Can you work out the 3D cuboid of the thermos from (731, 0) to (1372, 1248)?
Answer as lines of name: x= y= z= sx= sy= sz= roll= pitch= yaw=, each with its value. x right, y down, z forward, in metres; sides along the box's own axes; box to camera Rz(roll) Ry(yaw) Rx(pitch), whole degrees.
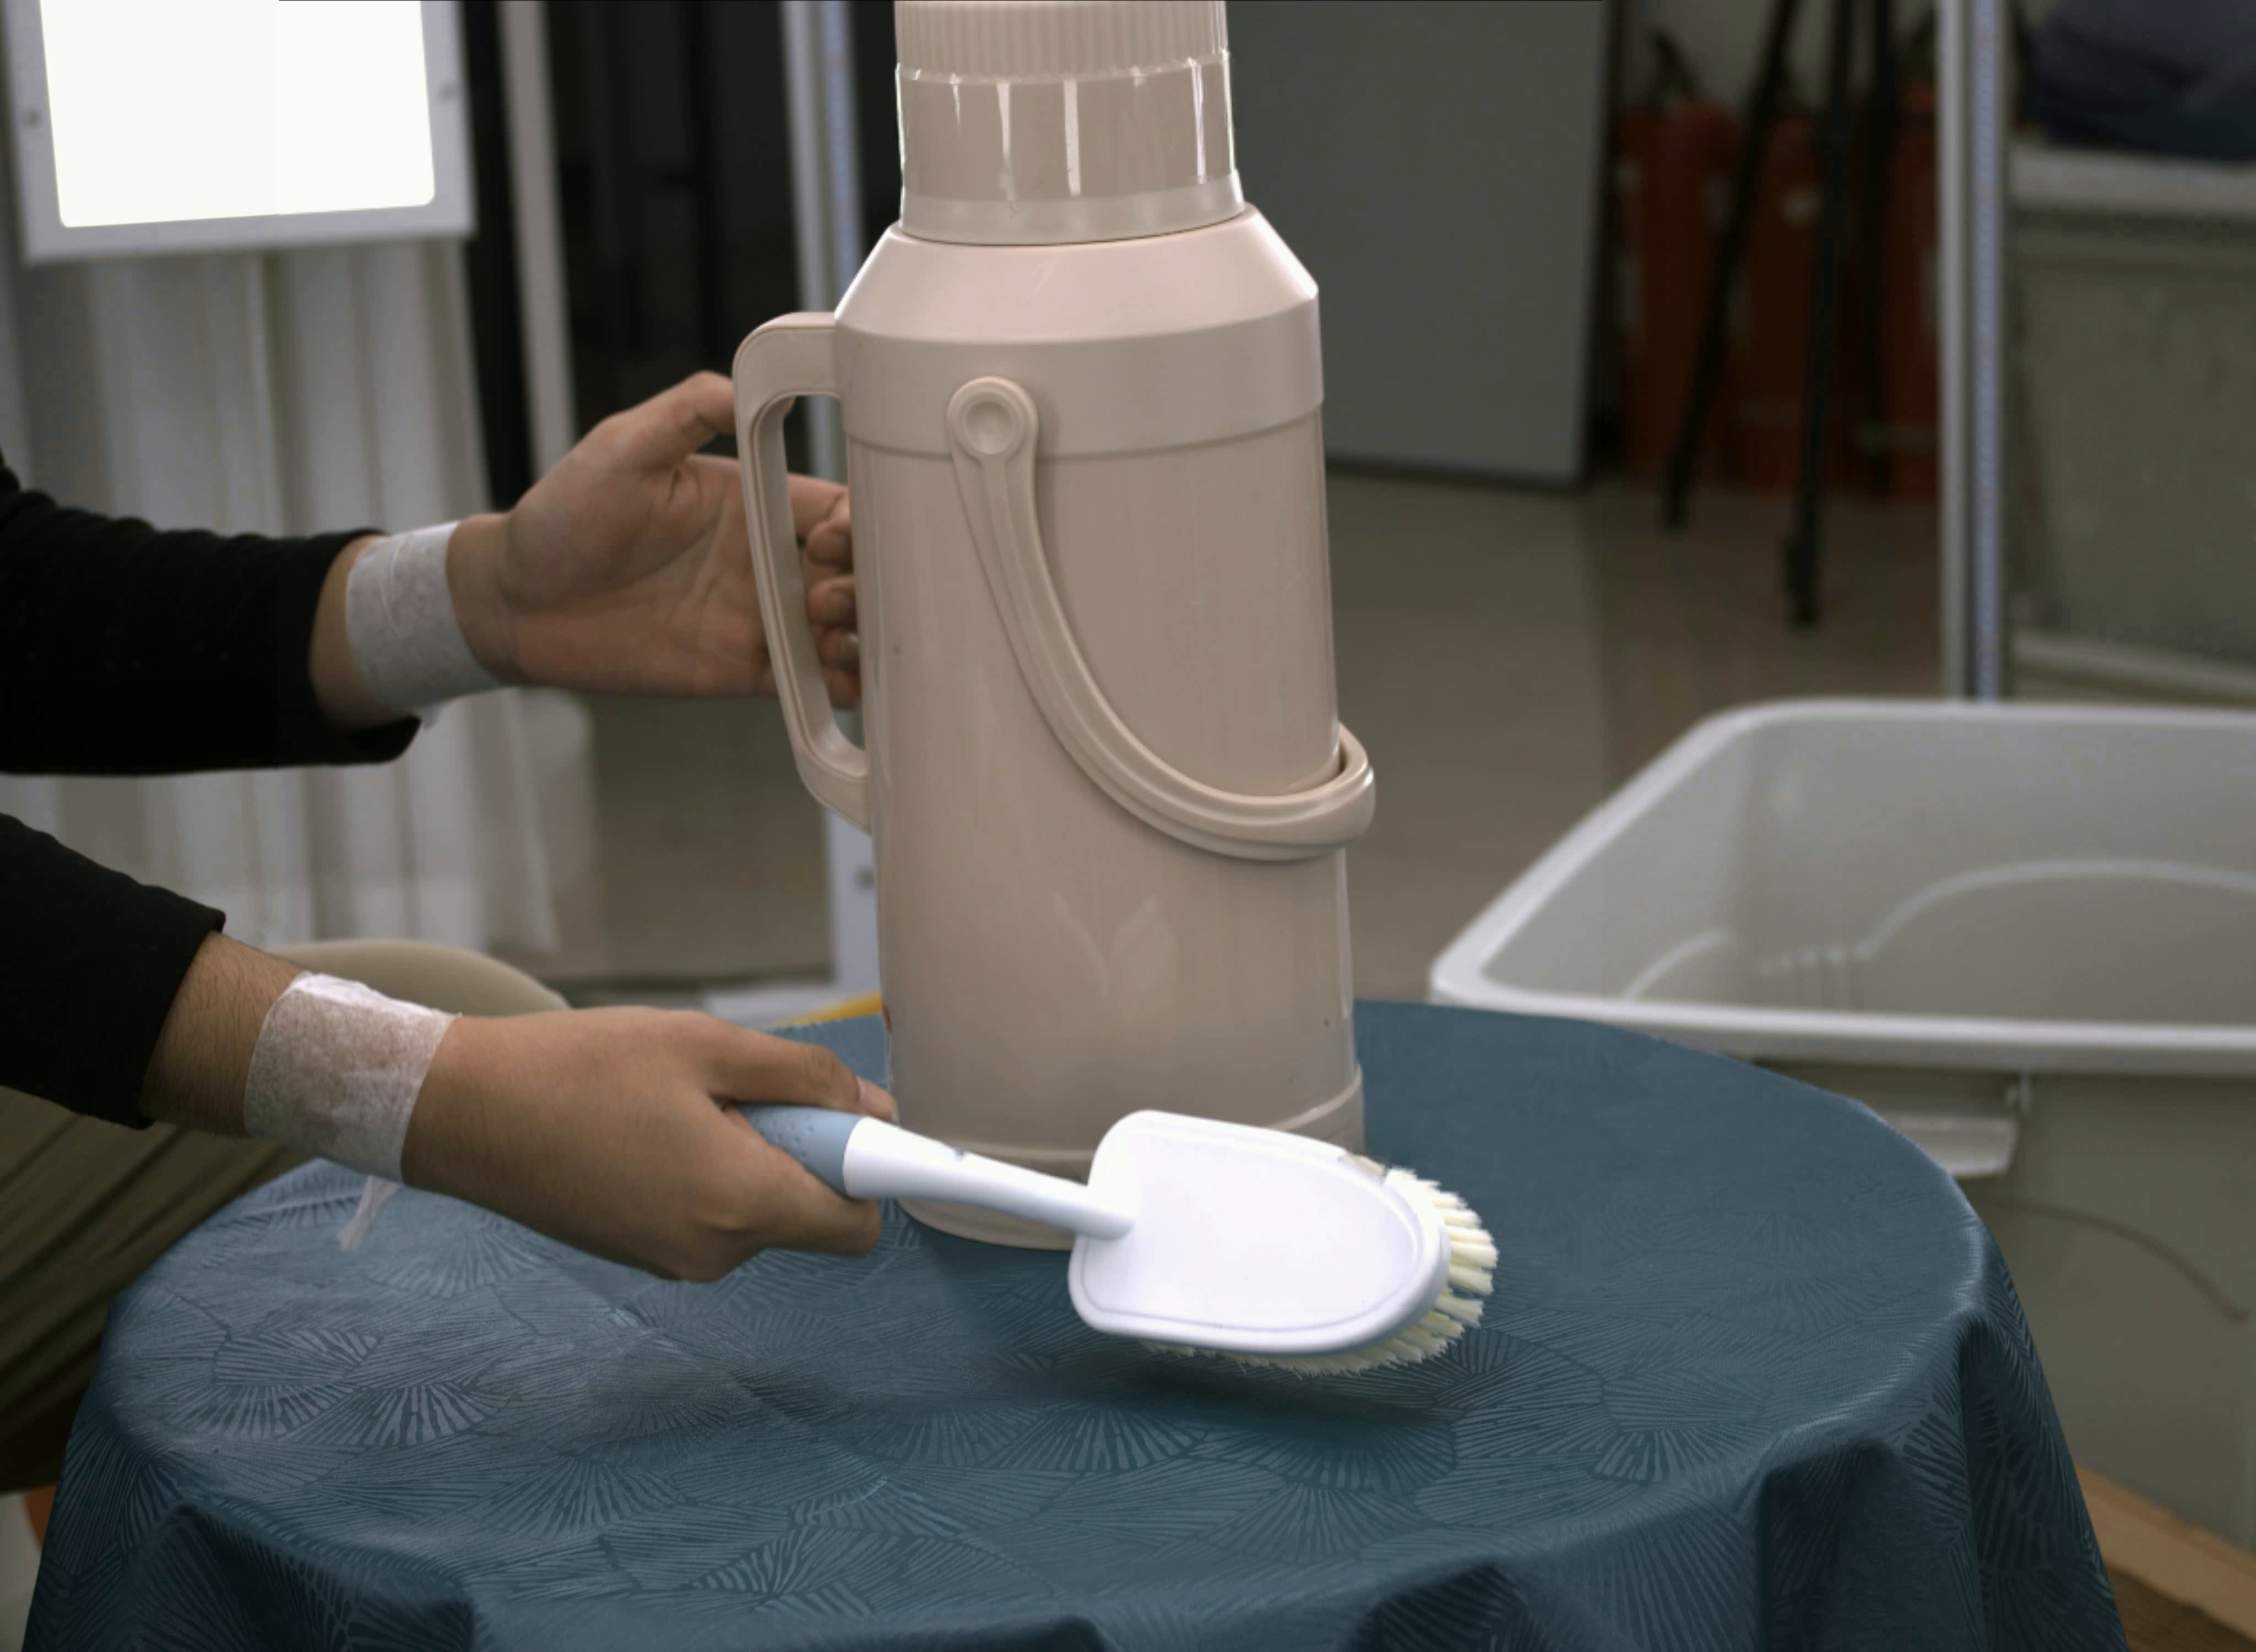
thermos: x=-0.025 y=-0.078 z=1.749 sx=0.206 sy=0.411 sz=0.174 roll=1 pitch=16 yaw=19

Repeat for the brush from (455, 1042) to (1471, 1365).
brush: x=-0.048 y=0.103 z=1.612 sx=0.326 sy=0.085 sz=0.083 roll=9 pitch=41 yaw=24
